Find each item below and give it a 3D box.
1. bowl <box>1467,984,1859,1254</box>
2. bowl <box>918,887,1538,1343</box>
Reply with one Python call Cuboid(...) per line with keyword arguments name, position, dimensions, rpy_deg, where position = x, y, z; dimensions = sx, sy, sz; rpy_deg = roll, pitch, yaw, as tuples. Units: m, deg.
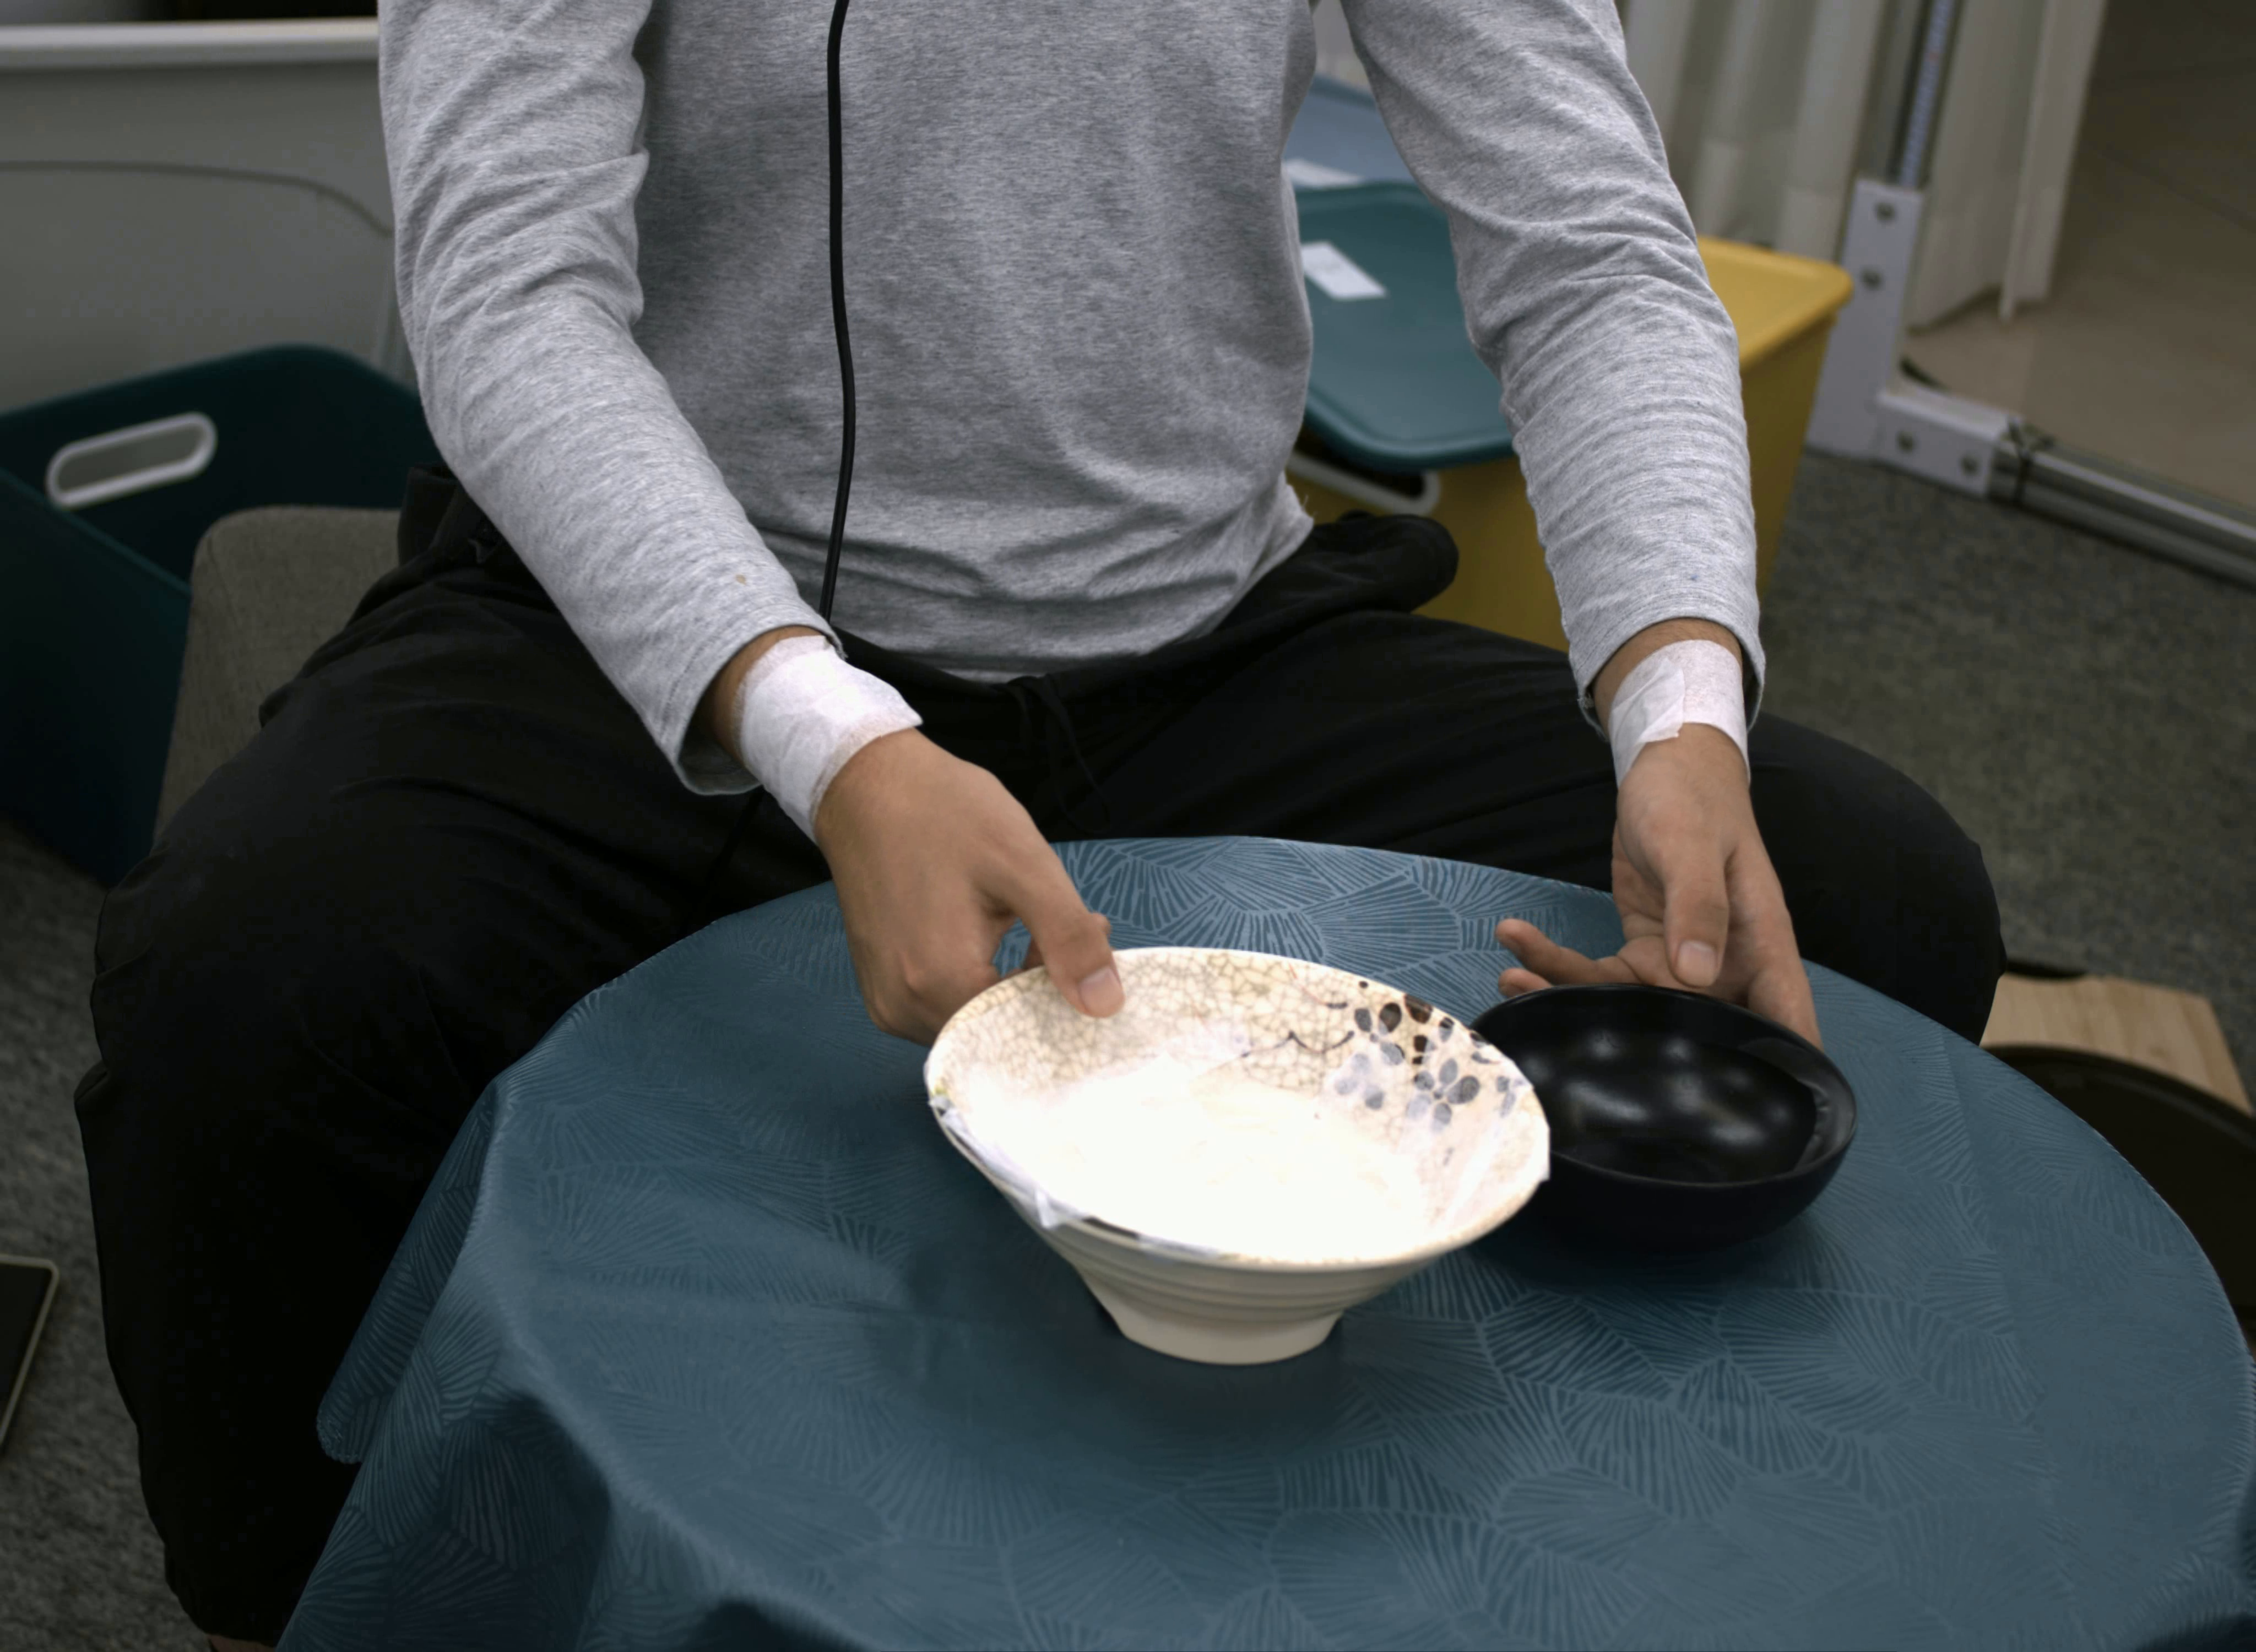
Cuboid(name="bowl", position=(0.178, 0.108, 1.822), dimensions=(0.139, 0.049, 0.141), rpy_deg=(7, 25, -4))
Cuboid(name="bowl", position=(0.026, 0.110, 1.724), dimensions=(0.203, 0.077, 0.205), rpy_deg=(8, 33, -6))
